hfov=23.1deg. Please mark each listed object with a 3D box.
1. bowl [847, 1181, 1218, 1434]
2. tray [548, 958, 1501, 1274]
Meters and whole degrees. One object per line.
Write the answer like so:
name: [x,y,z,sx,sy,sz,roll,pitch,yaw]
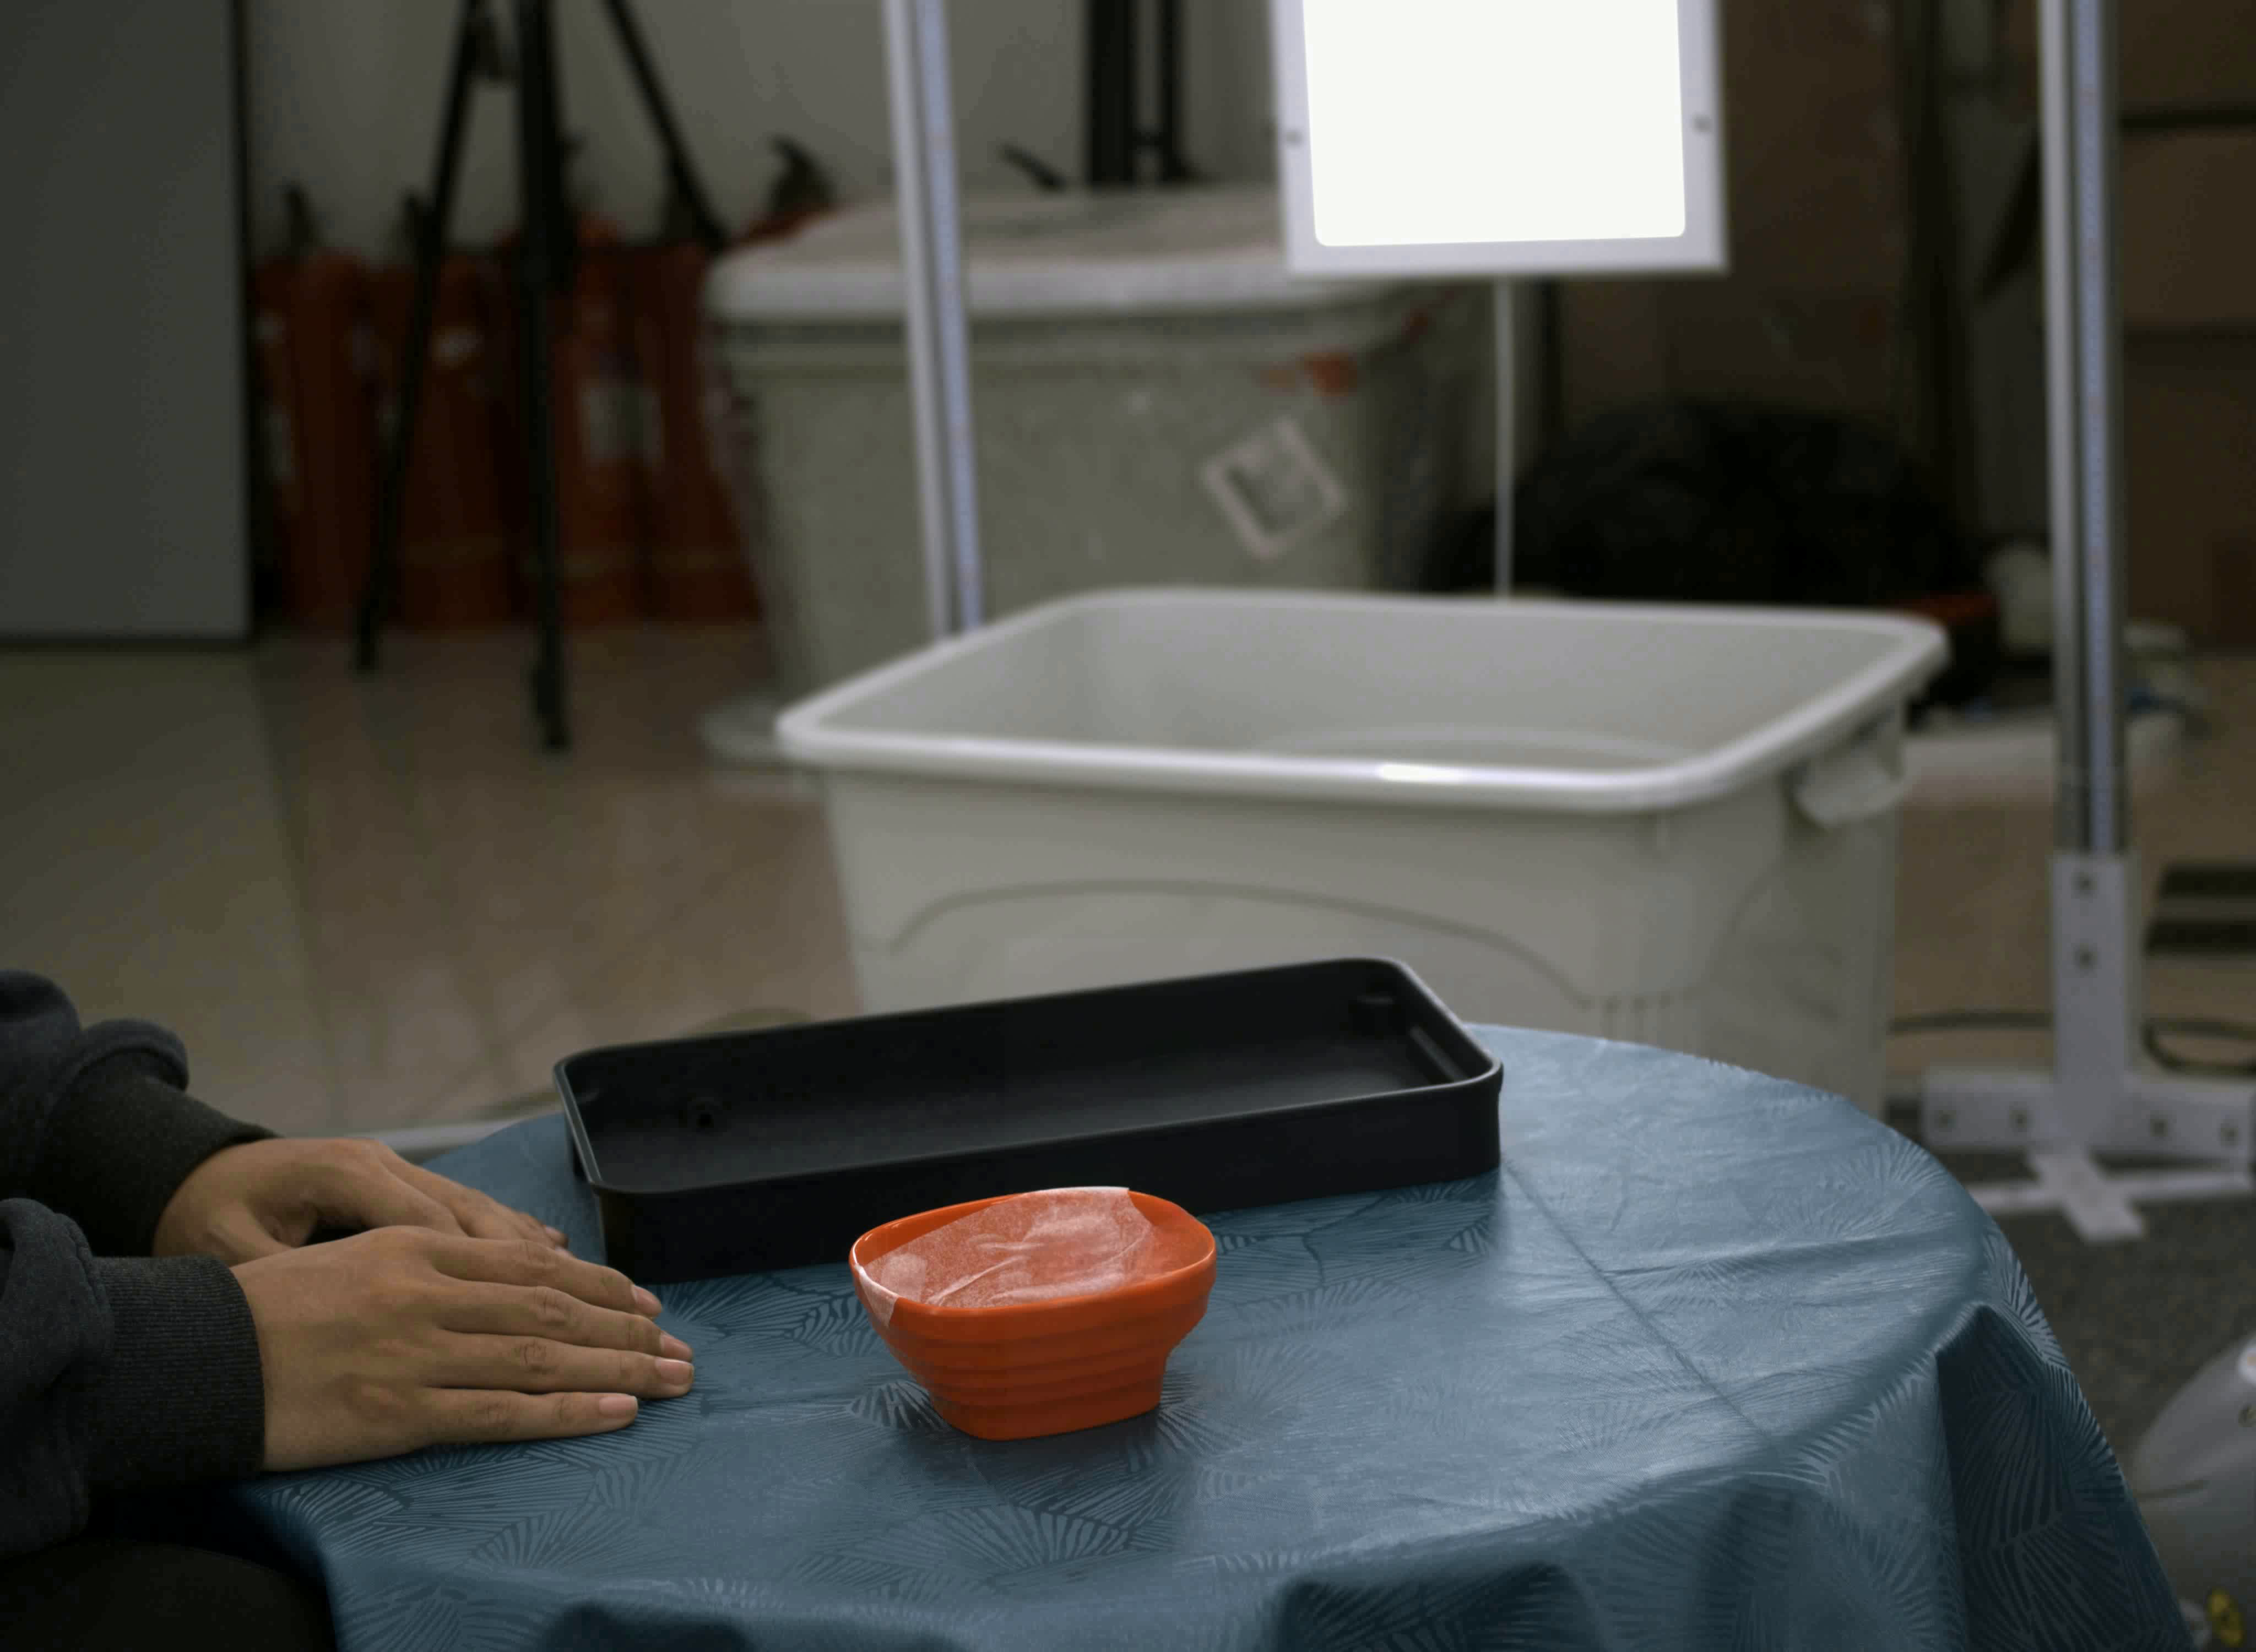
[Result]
bowl: [-0.028,0.150,1.694,0.118,0.051,0.119,-3,14,-1]
tray: [-0.039,0.099,1.940,0.315,0.037,0.185,-6,14,-8]
